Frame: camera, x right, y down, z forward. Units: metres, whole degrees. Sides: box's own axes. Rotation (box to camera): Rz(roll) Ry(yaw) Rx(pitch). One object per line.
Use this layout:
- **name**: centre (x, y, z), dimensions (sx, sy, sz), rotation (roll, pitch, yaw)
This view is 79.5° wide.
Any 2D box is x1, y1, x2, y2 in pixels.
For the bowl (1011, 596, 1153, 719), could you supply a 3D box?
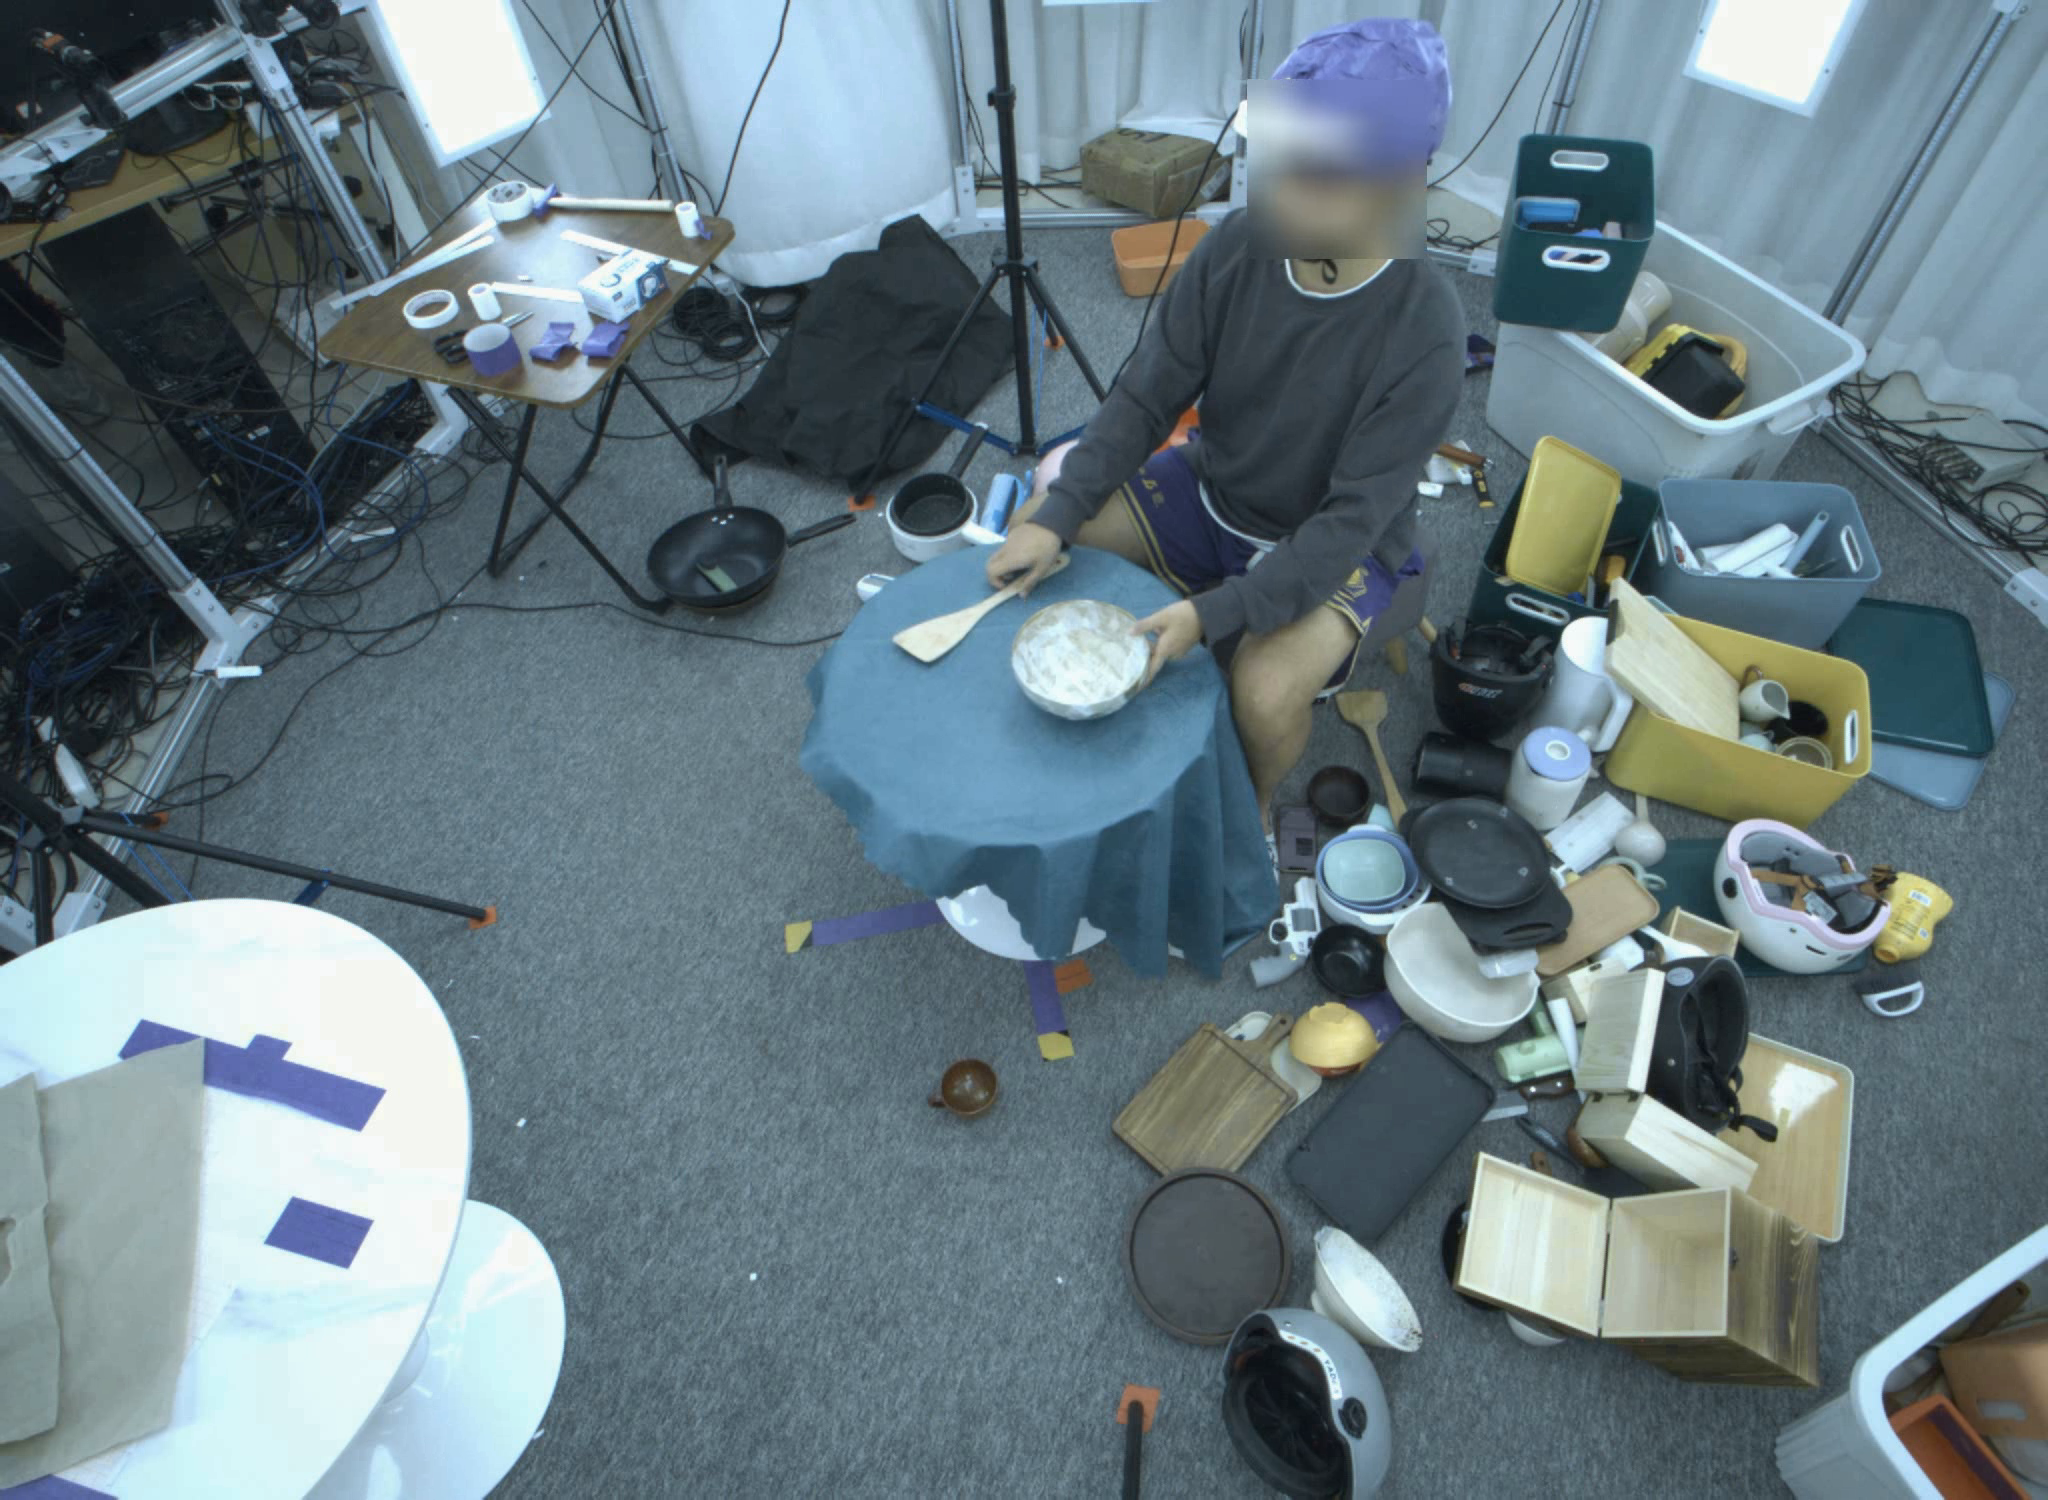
- **bowl**: centre (0.087, -0.122, 1.814), dimensions (0.214, 0.095, 0.212), rotation (-1, 55, 3)

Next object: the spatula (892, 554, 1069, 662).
- **spatula**: centre (-0.057, -0.233, 1.947), dimensions (0.330, 0.017, 0.078), rotation (-34, 60, -21)
